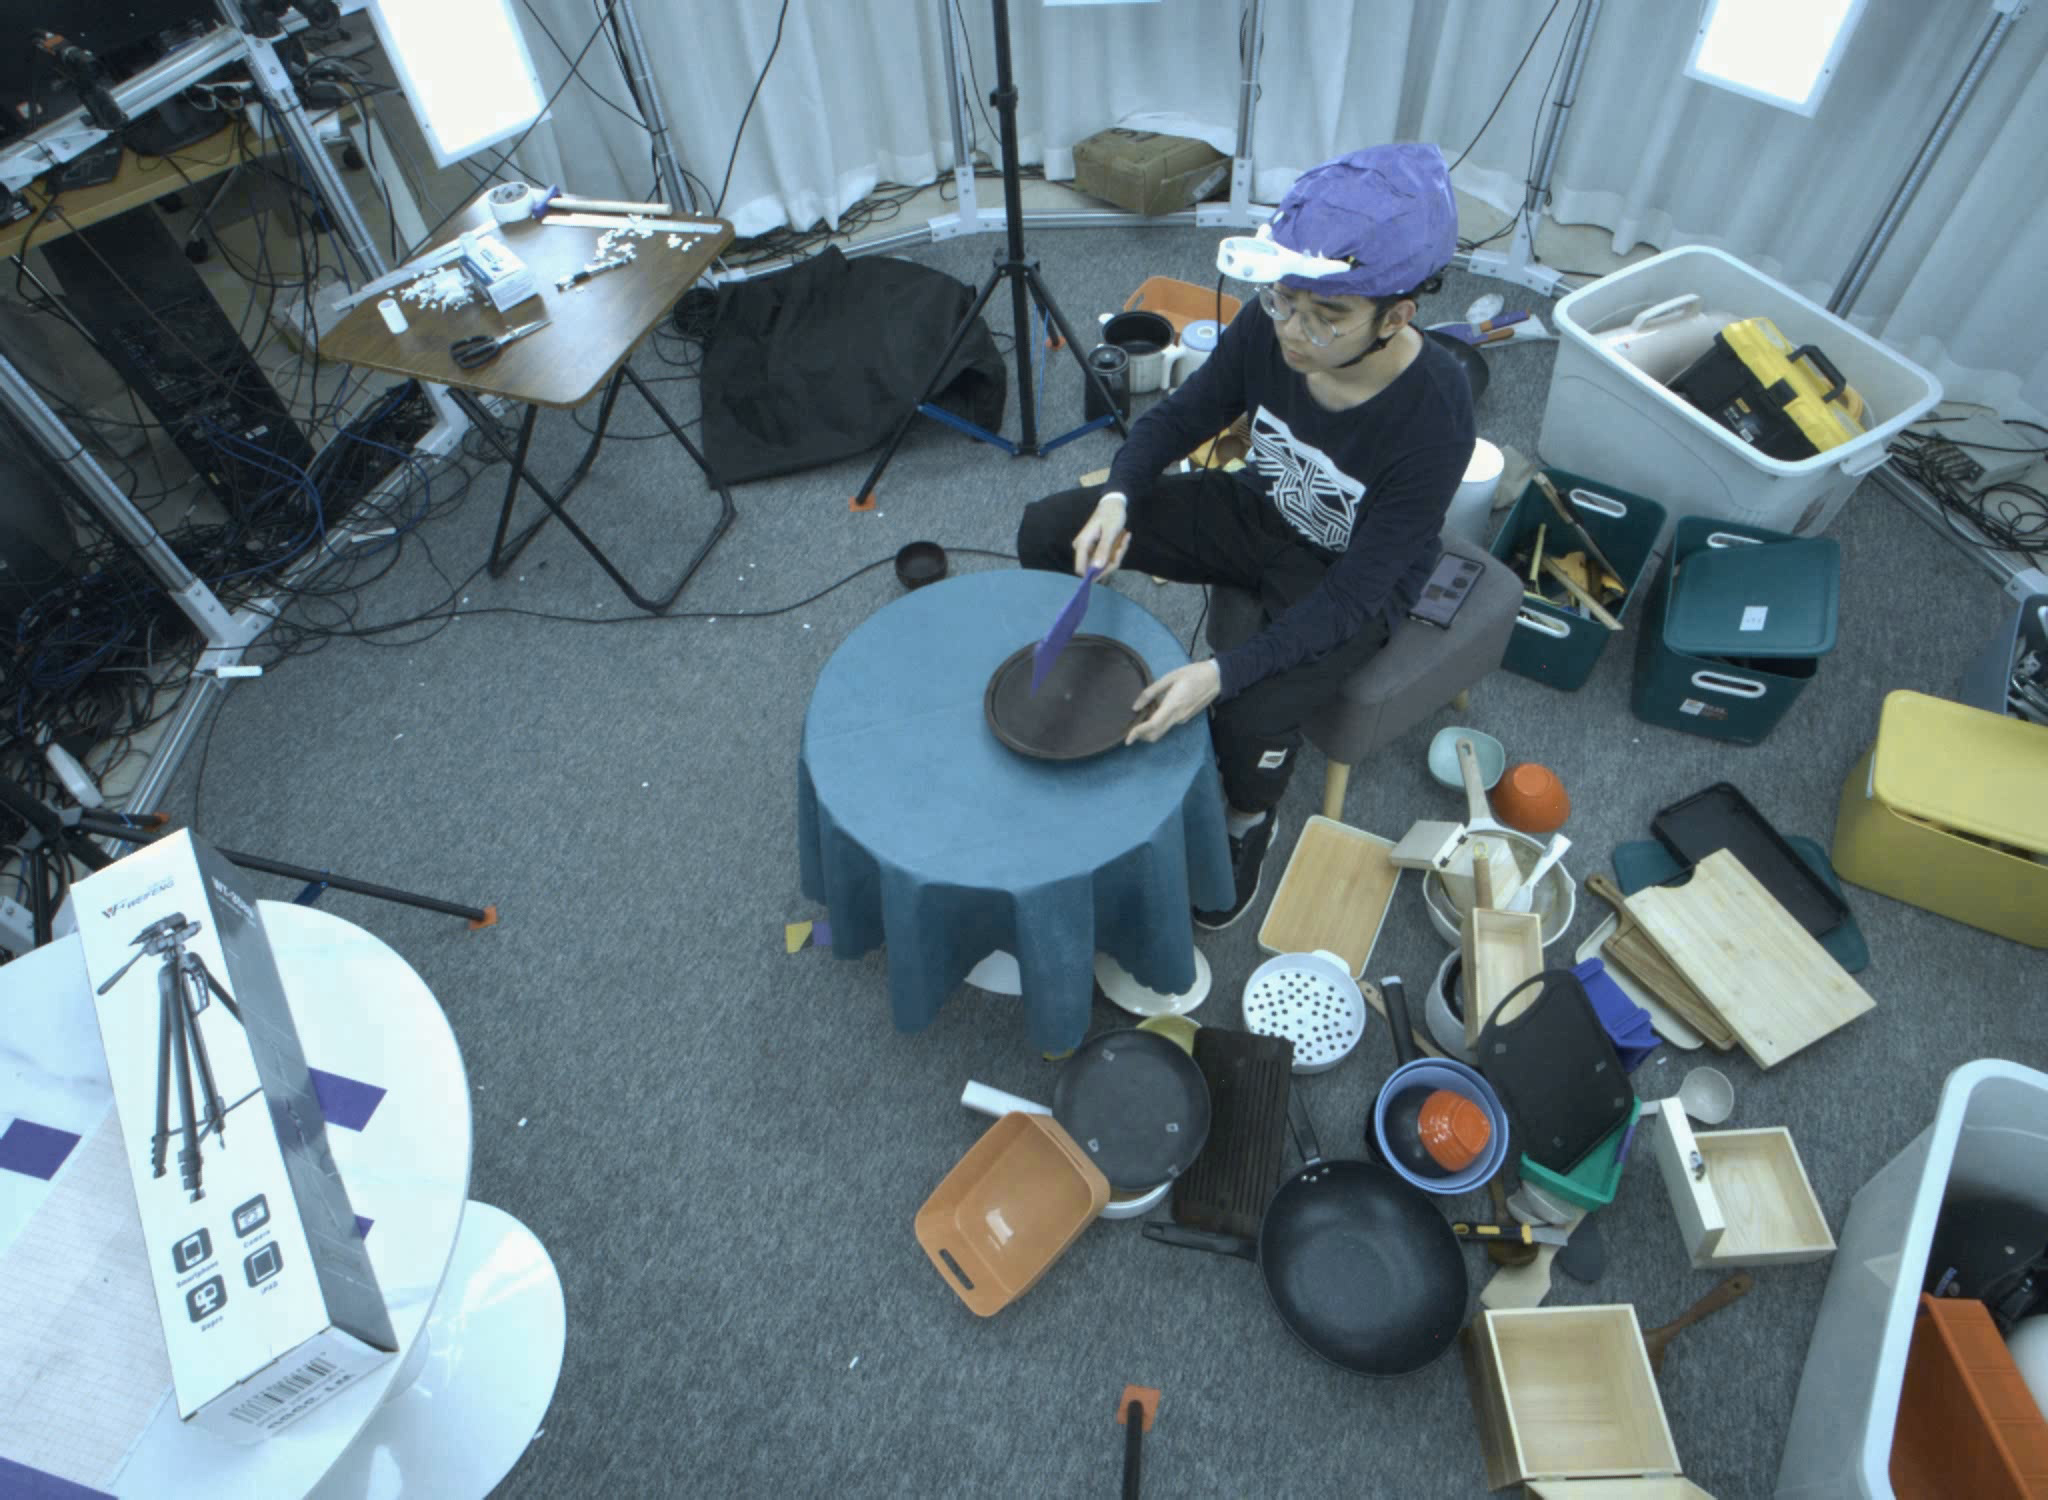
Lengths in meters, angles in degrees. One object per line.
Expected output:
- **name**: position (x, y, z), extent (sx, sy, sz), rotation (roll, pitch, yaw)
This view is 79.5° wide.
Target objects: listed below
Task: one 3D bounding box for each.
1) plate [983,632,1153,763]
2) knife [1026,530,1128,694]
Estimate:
- **plate**: position (0.065, -0.079, 1.818), extent (0.254, 0.029, 0.252), rotation (-5, 49, 7)
- **knife**: position (0.074, -0.206, 1.805), extent (0.032, 0.104, 0.316), rotation (24, 51, 13)
